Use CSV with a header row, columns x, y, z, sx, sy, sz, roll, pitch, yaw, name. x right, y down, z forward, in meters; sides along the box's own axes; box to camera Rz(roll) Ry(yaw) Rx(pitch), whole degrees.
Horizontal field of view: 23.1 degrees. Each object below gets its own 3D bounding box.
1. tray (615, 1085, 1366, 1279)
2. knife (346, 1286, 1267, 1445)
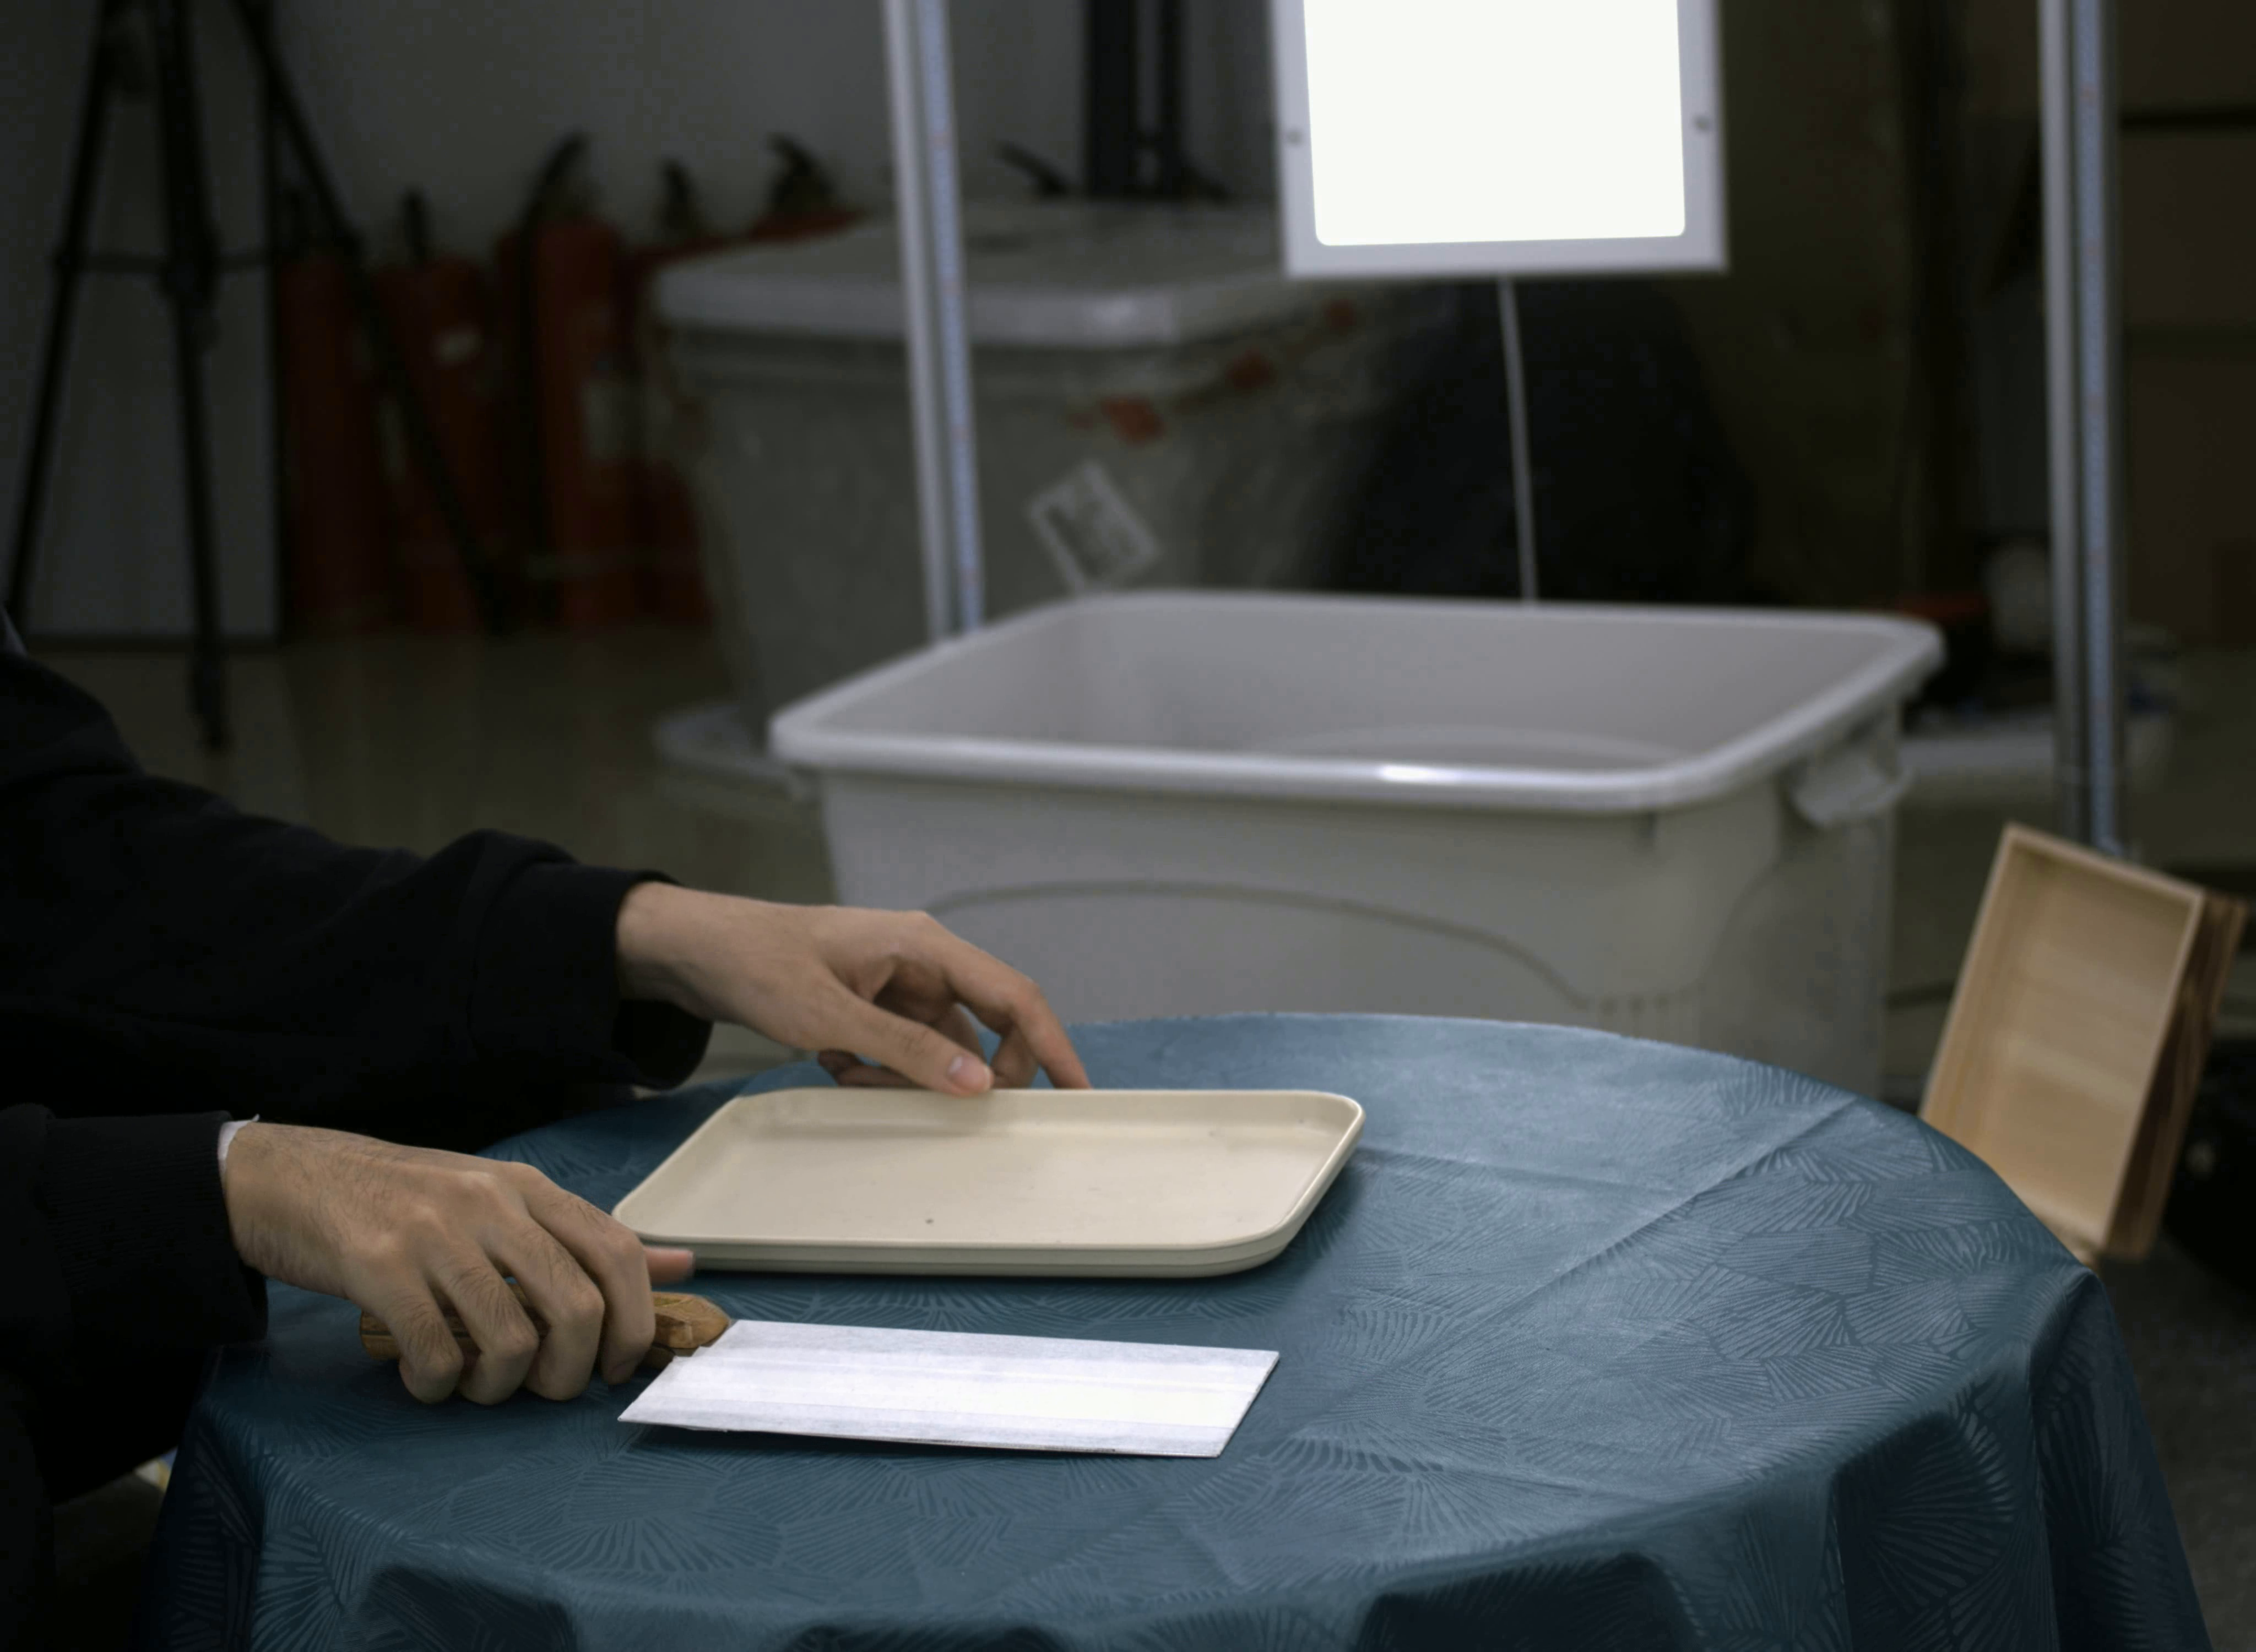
x,y,z,sx,sy,sz,roll,pitch,yaw,name
-0.045,0.122,1.891,0.242,0.017,0.169,-1,15,17,tray
-0.109,0.171,1.723,0.309,0.021,0.091,2,17,16,knife
